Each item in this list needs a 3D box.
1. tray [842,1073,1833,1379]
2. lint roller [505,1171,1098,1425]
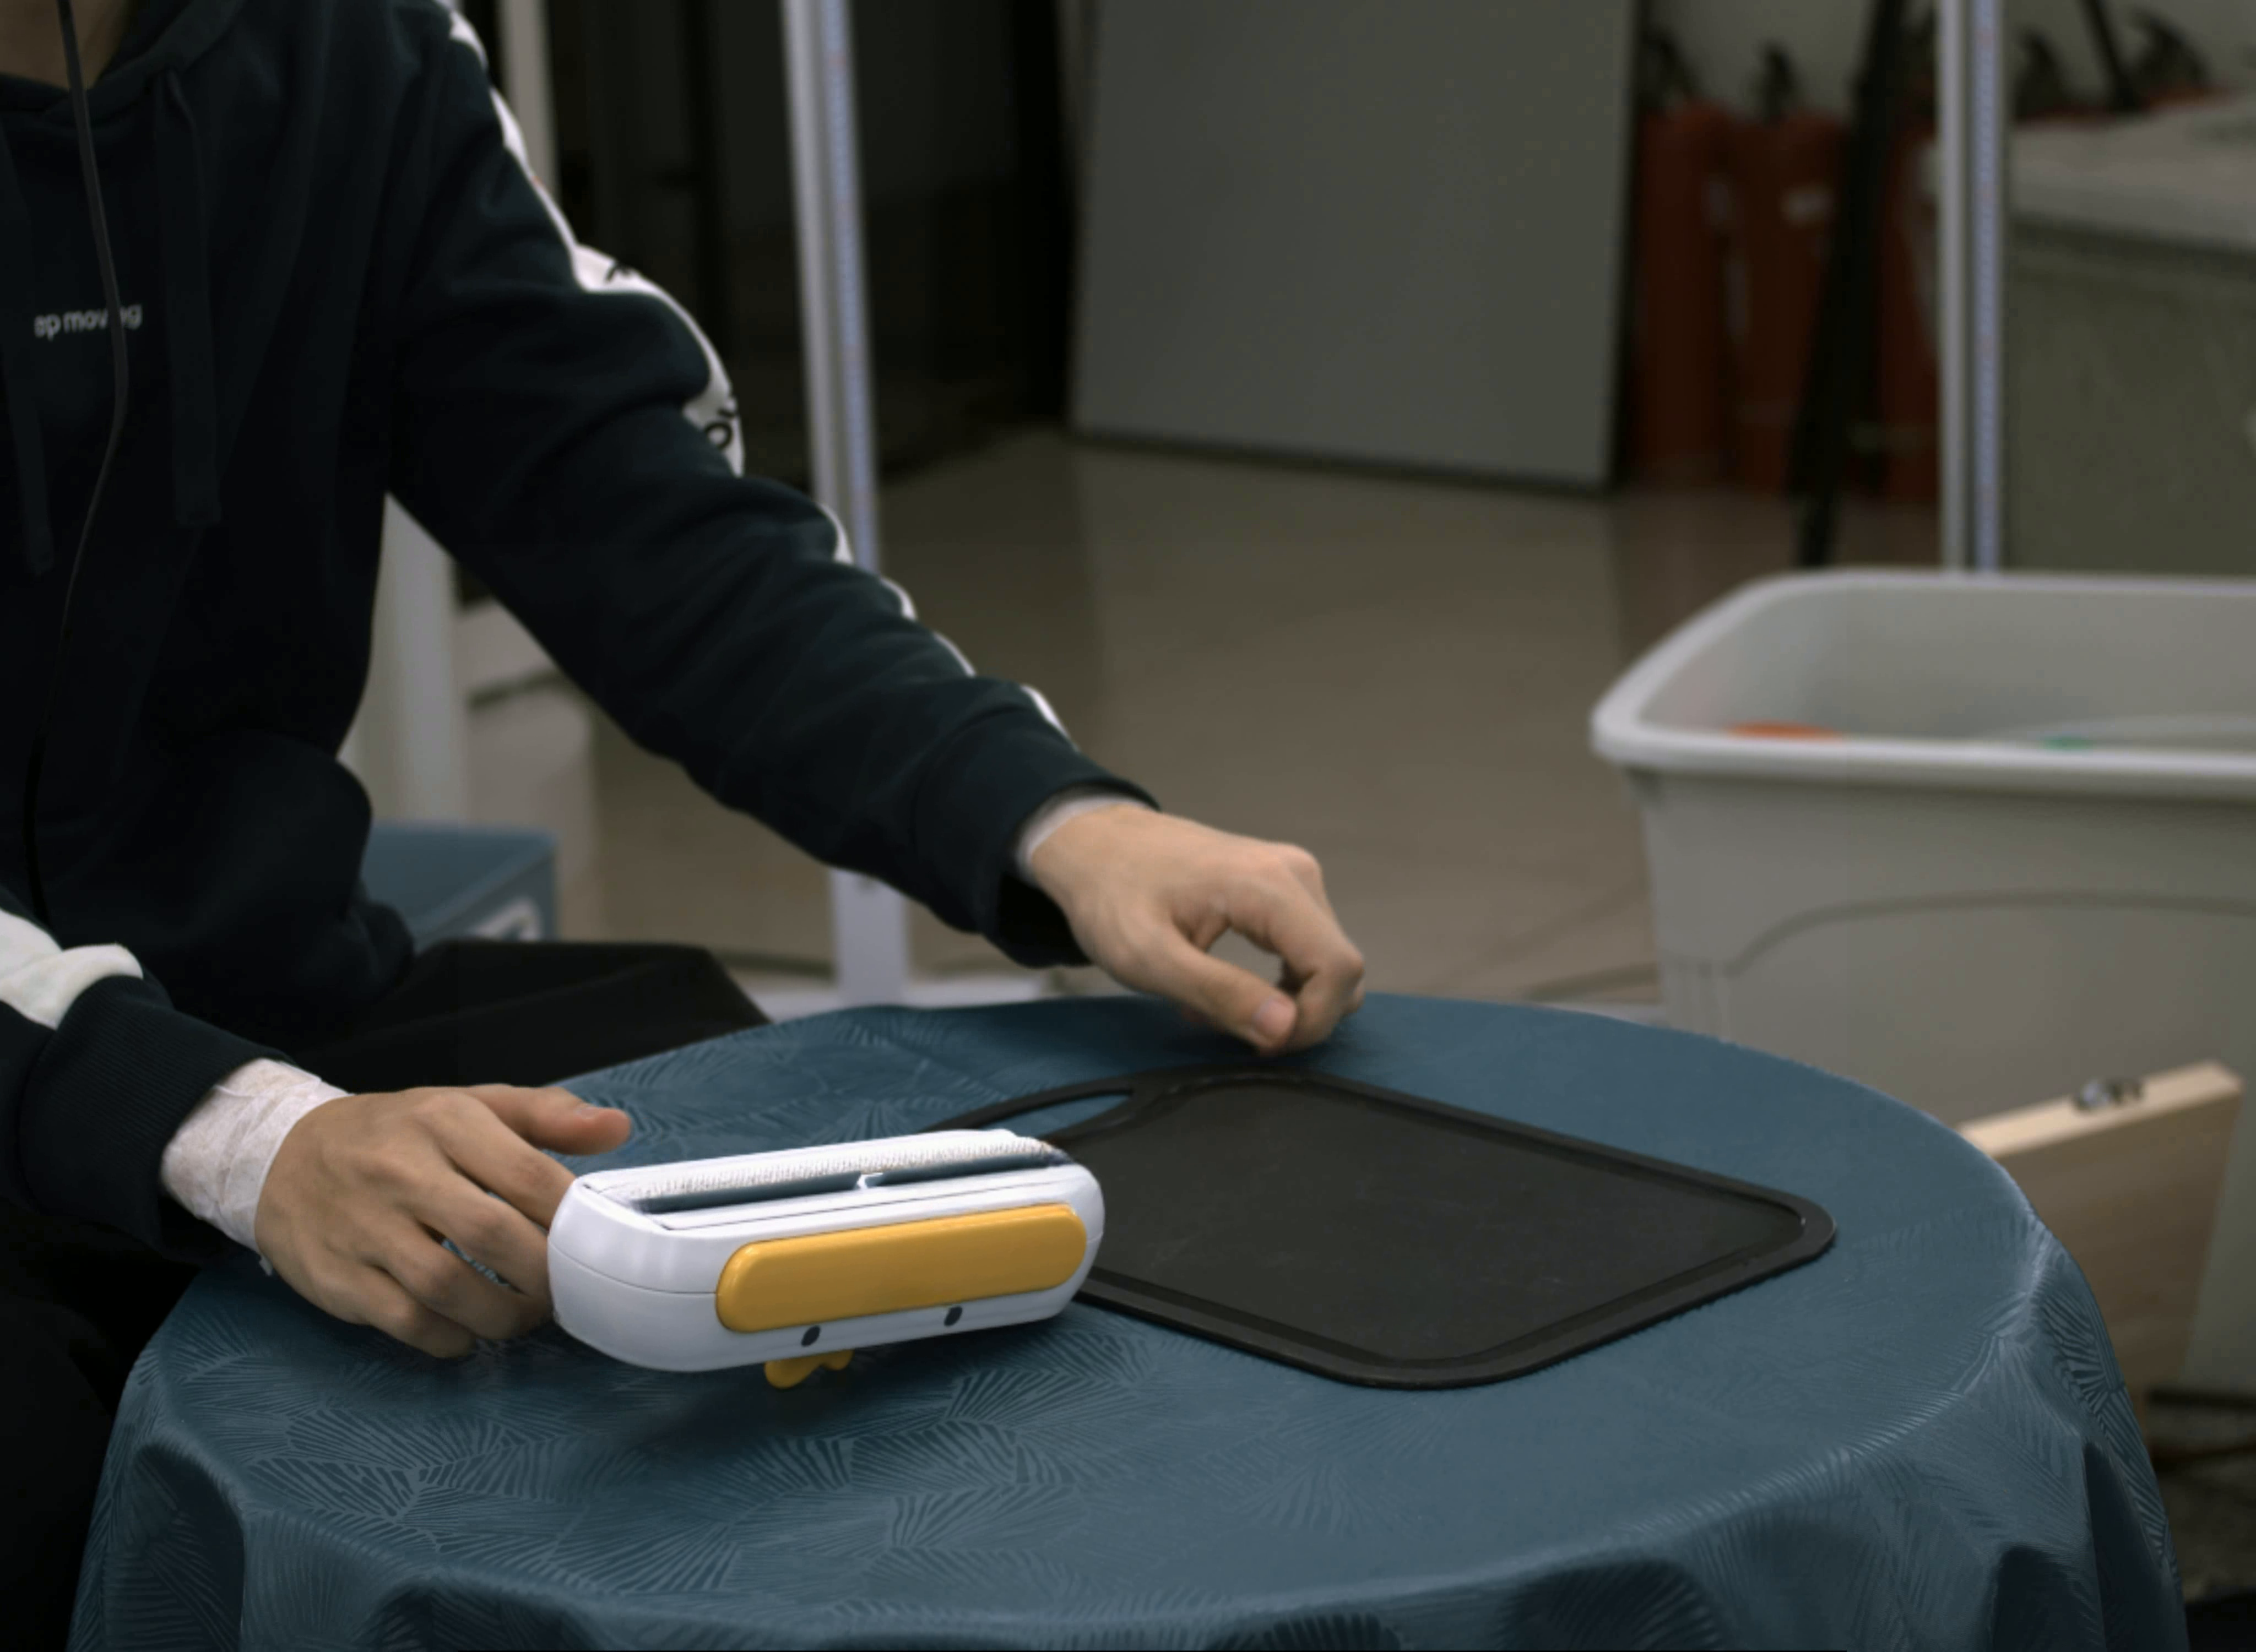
[{"bbox_3d":[0.055,0.123,1.736,0.206,0.010,0.328,-15,18,-39],"label":"tray"},{"bbox_3d":[-0.127,0.145,1.650,0.188,0.075,0.194,-6,-2,-37],"label":"lint roller"}]
